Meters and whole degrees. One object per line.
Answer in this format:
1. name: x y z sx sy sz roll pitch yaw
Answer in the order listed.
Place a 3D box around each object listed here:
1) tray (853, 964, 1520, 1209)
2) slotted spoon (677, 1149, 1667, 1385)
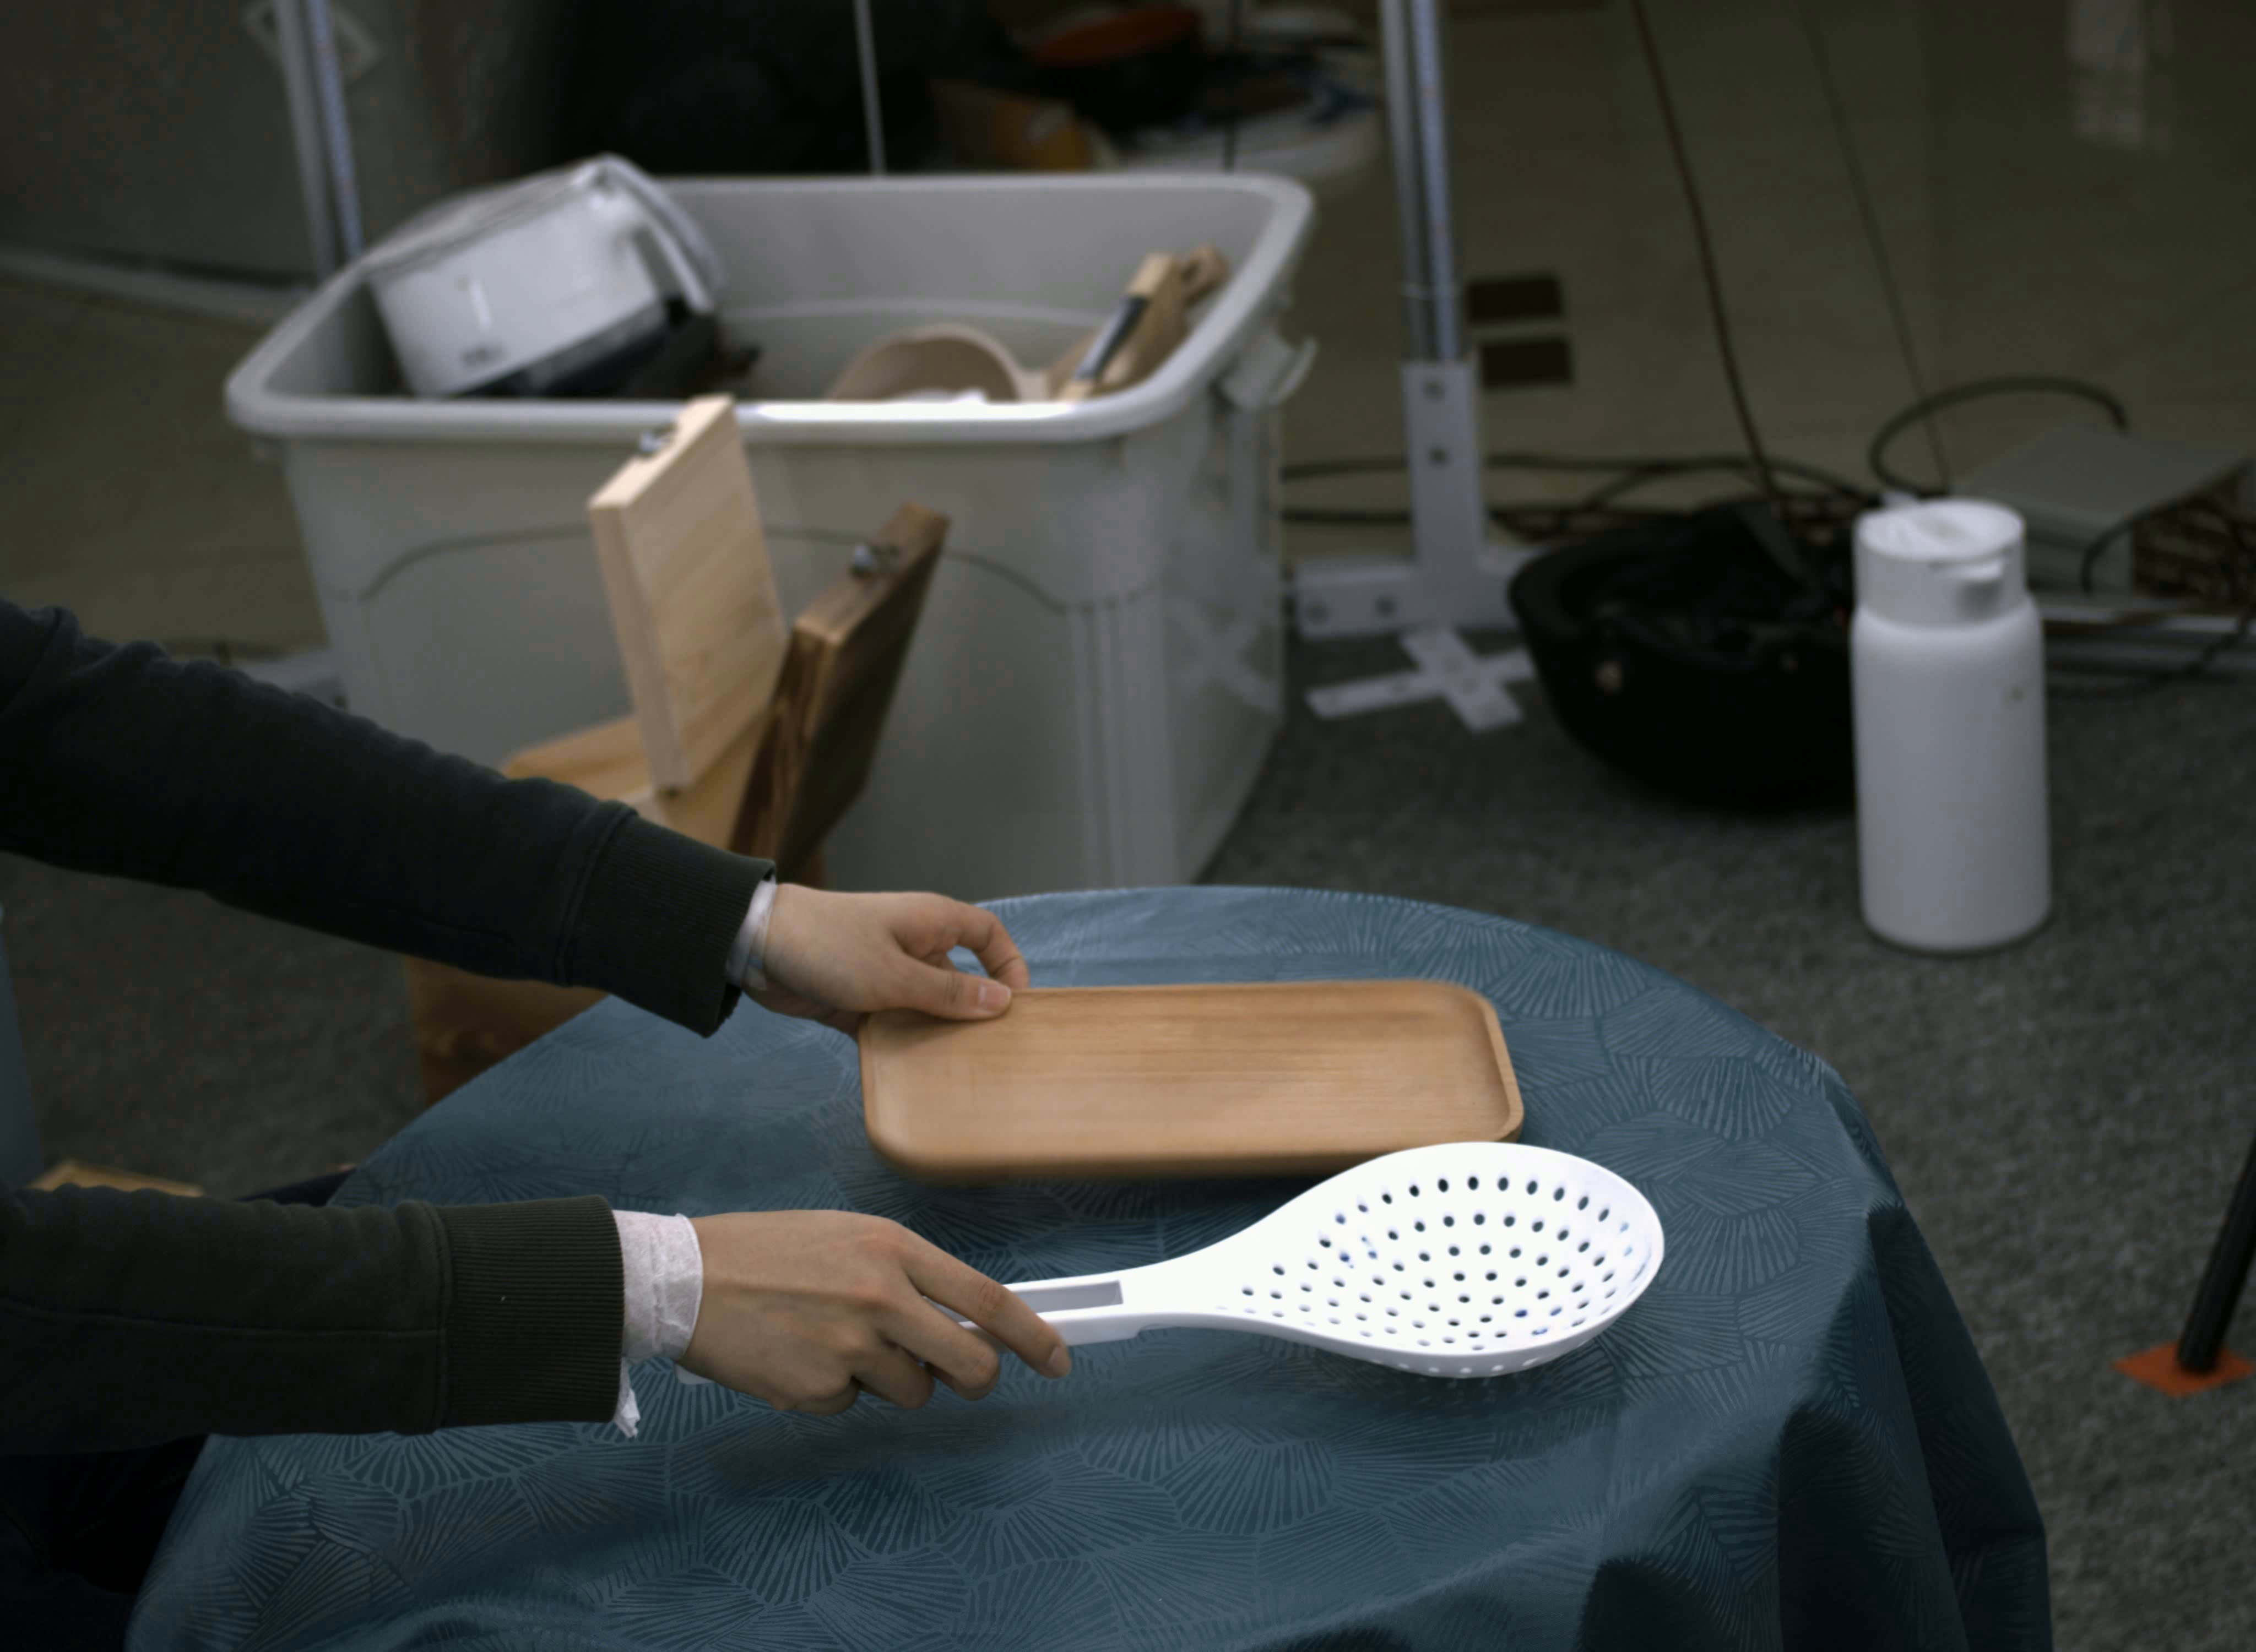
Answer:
1. tray: 0.021 0.100 2.174 0.250 0.023 0.128 -4 31 -3
2. slotted spoon: 0.015 0.167 2.005 0.349 0.046 0.134 -2 27 -5
